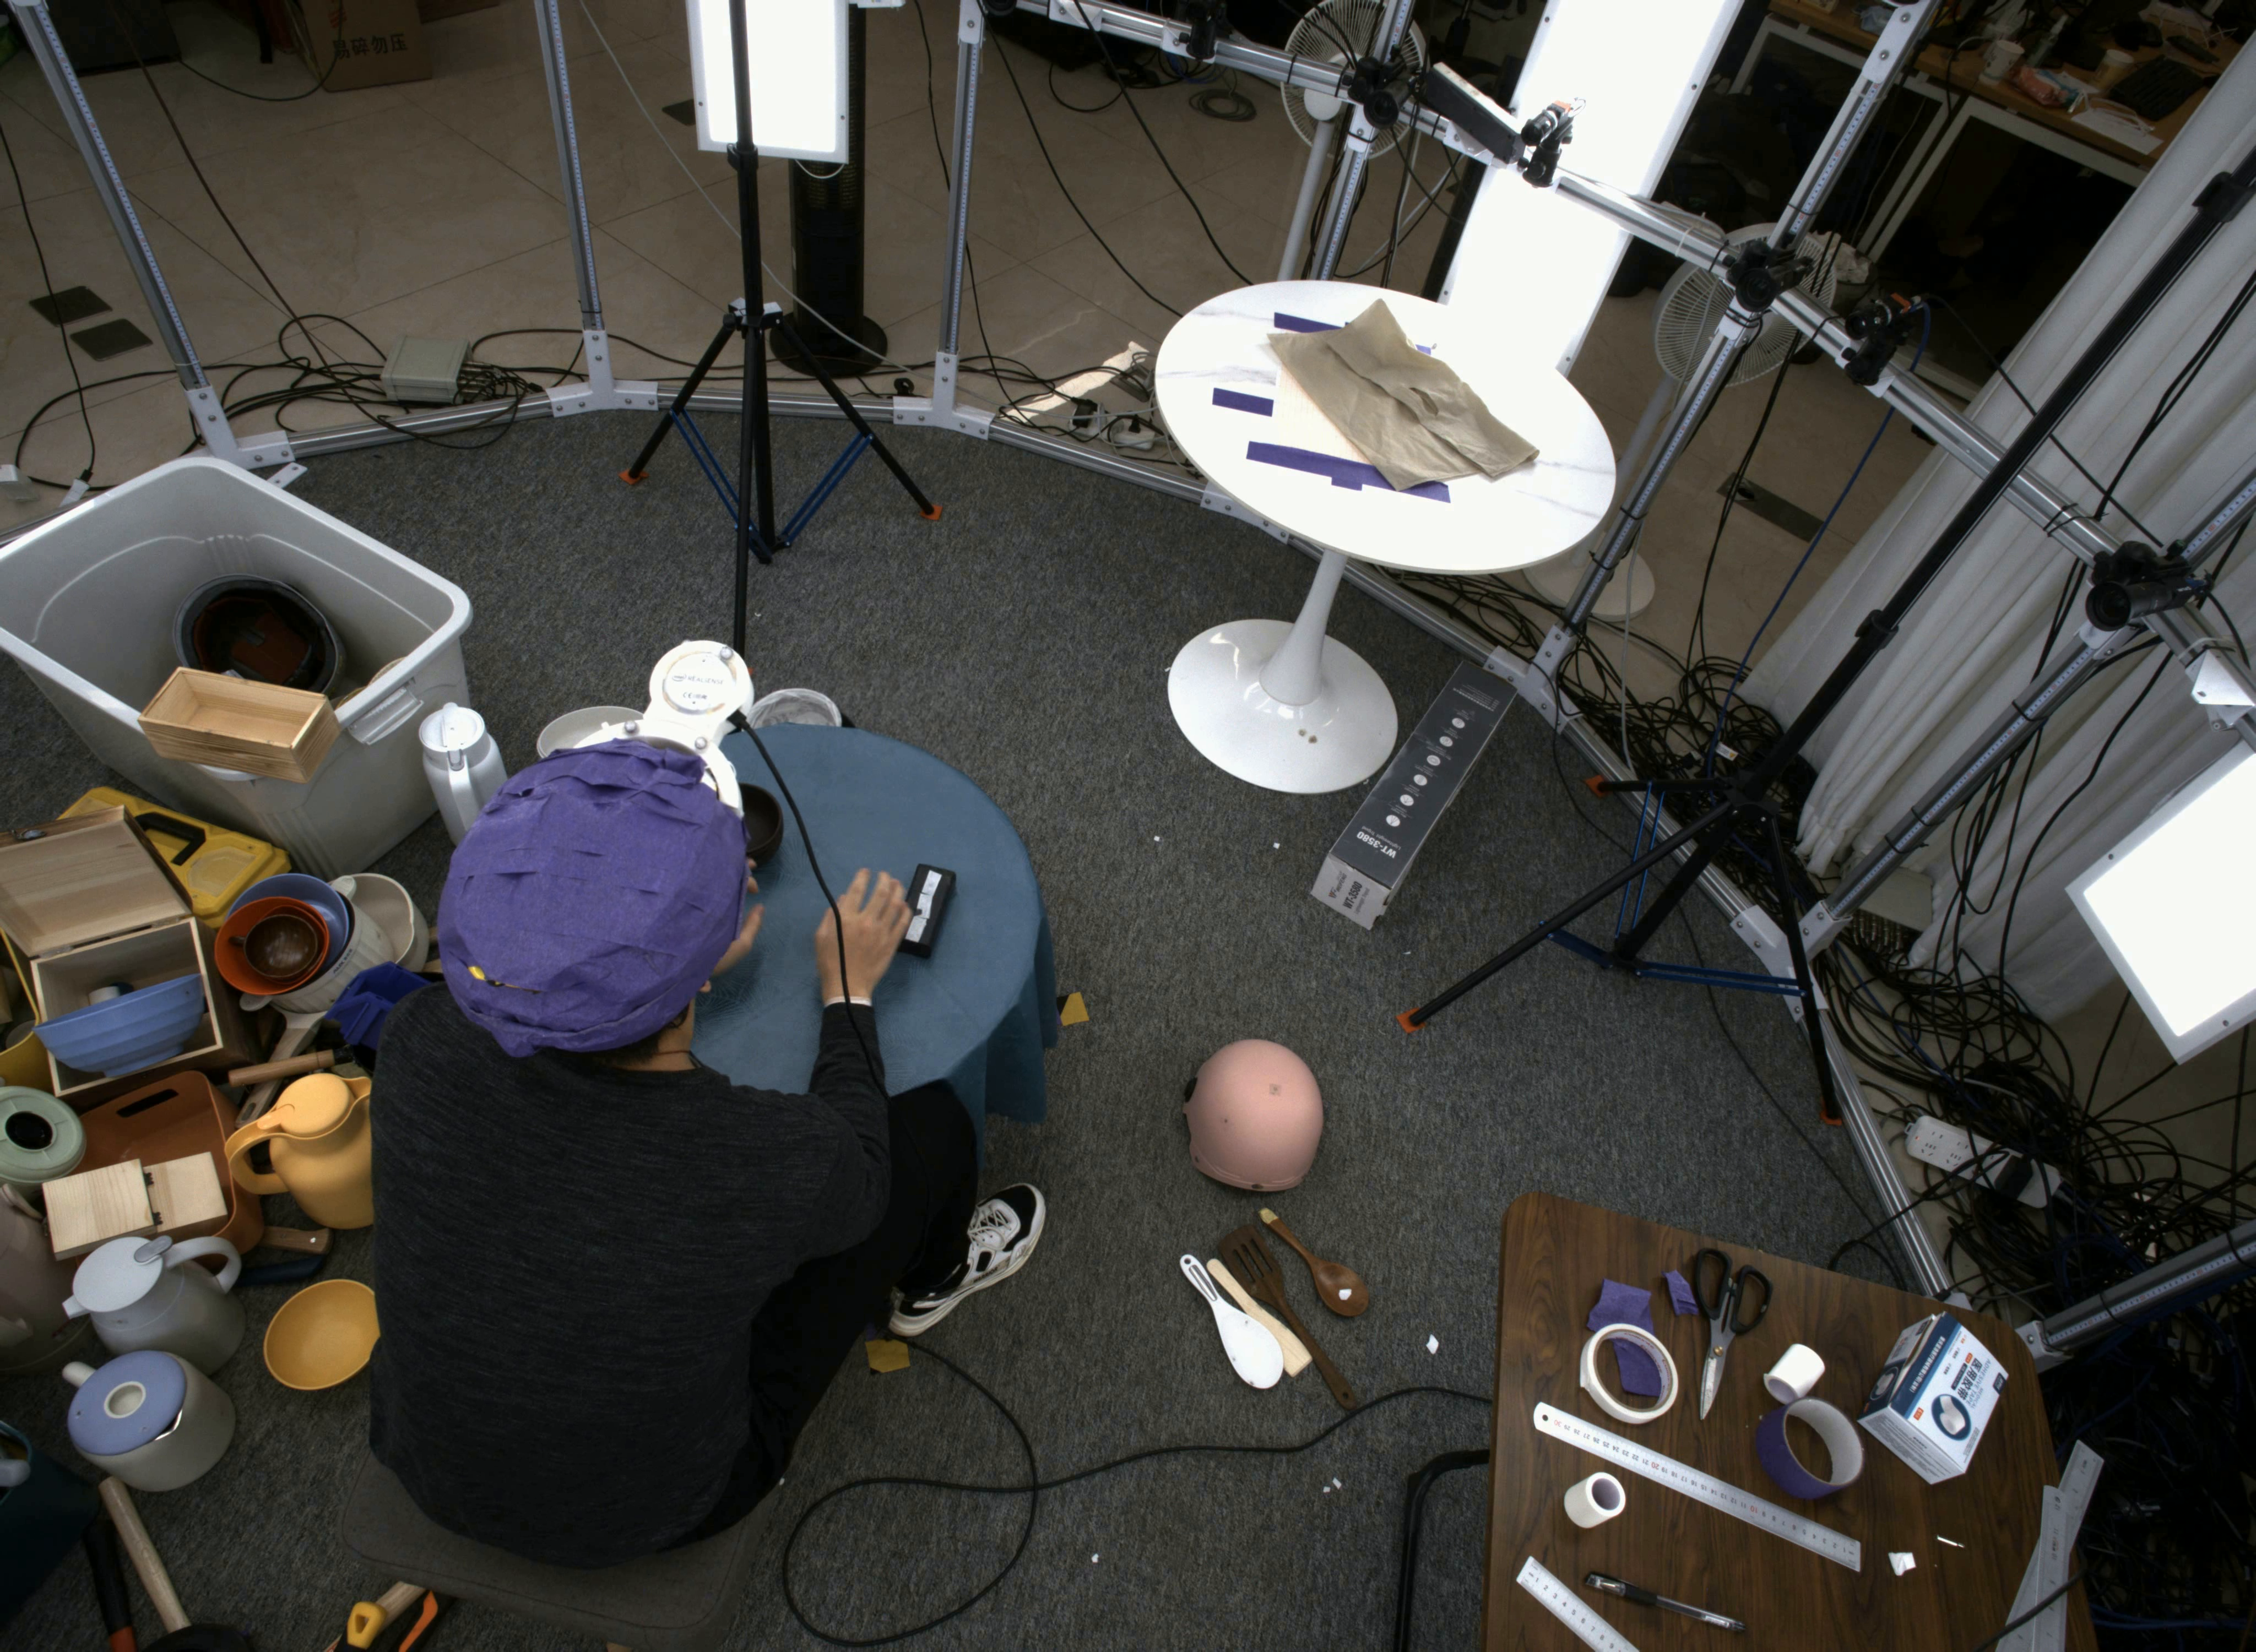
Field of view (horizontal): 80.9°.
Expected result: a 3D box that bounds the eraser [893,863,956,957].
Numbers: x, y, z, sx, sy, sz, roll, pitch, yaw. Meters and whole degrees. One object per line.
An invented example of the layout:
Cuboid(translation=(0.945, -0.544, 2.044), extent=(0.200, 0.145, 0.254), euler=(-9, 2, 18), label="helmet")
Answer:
Cuboid(translation=(-0.259, 0.104, 1.666), extent=(0.053, 0.031, 0.124), euler=(12, 52, -1), label="eraser")

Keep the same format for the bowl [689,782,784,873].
Cuboid(translation=(-0.498, 0.008, 1.647), extent=(0.118, 0.071, 0.116), euler=(9, 51, -10), label="bowl")
